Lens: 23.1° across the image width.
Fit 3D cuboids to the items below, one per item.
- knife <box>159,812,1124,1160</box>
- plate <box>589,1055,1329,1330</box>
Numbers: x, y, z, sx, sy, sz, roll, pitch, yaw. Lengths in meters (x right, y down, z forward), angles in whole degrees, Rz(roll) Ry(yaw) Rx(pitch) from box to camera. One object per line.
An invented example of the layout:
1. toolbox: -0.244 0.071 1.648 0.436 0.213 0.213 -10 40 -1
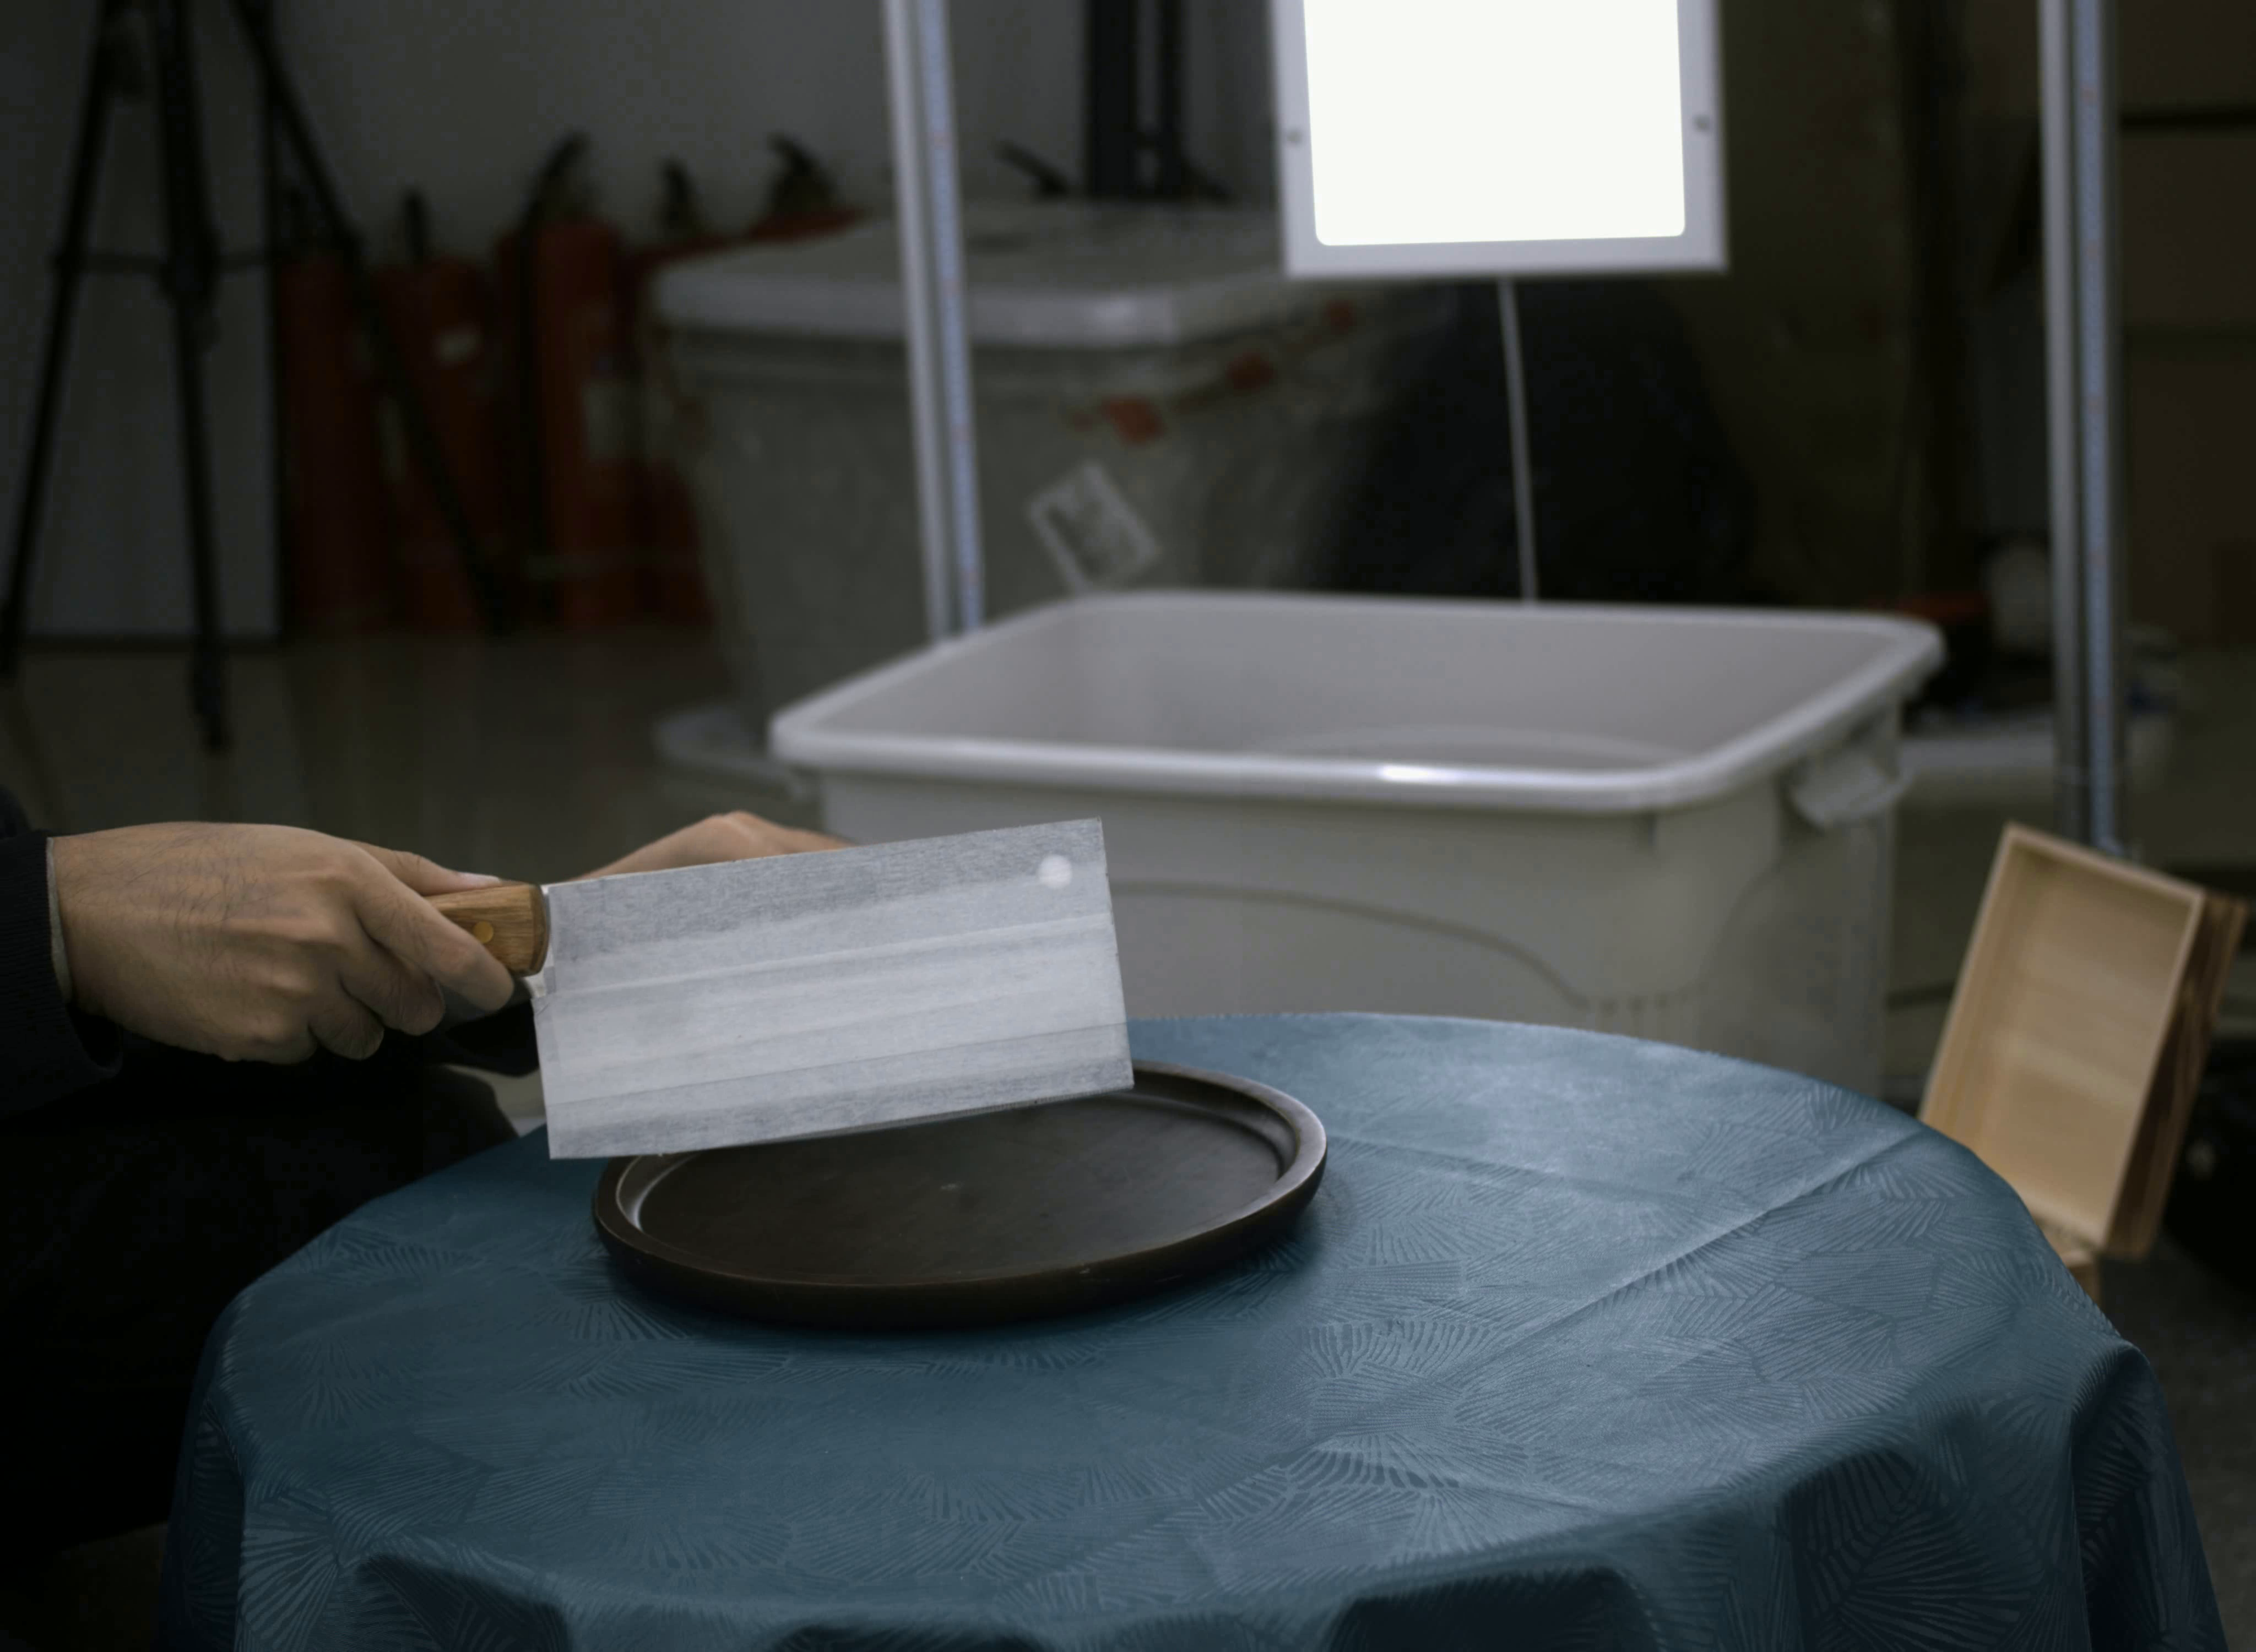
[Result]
1. knife: -0.154 0.058 1.762 0.306 0.093 0.021 -7 6 4
2. plate: -0.057 0.123 1.878 0.254 0.029 0.254 -5 13 0
